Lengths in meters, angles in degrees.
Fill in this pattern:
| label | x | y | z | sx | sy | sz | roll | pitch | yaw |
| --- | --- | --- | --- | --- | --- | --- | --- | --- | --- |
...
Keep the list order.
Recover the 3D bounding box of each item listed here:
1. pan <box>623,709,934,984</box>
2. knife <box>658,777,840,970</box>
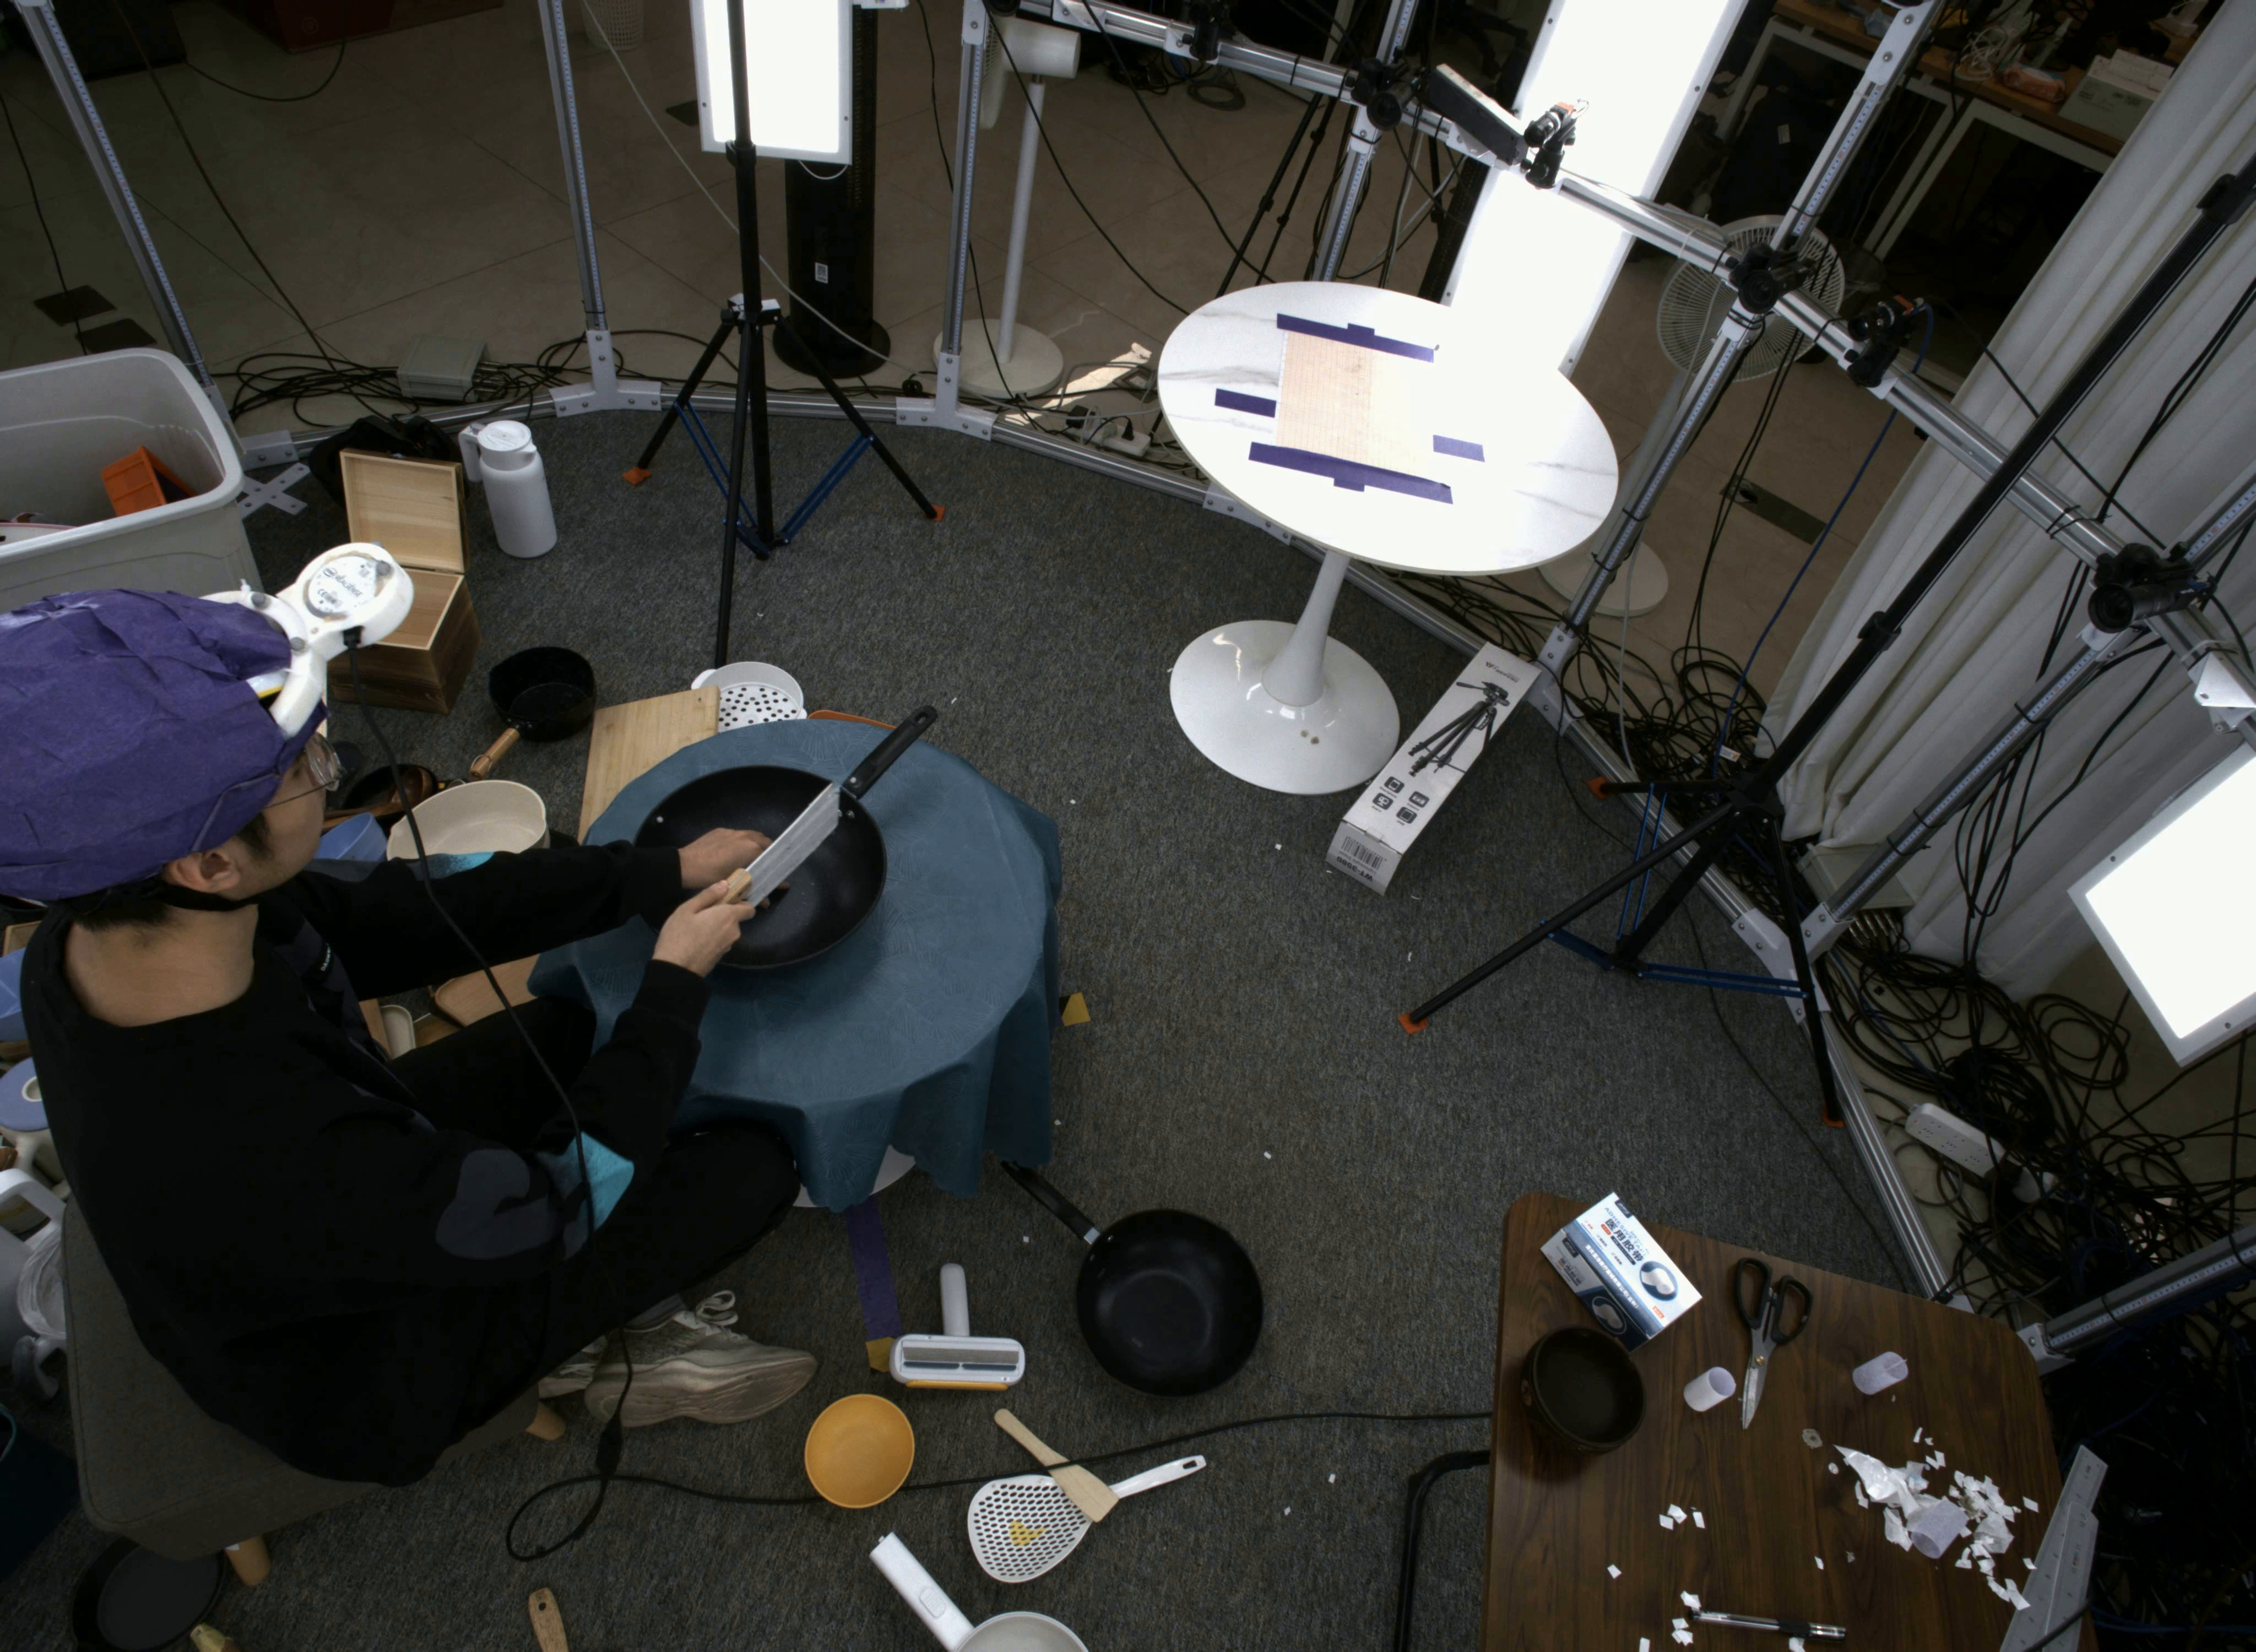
| label | x | y | z | sx | sy | sz | roll | pitch | yaw |
| --- | --- | --- | --- | --- | --- | --- | --- | --- | --- |
| pan | -0.410 | 0.017 | 1.636 | 0.305 | 0.114 | 0.476 | 35 | 53 | 11 |
| knife | -0.420 | 0.052 | 1.466 | 0.021 | 0.116 | 0.314 | 29 | 45 | 10 |
